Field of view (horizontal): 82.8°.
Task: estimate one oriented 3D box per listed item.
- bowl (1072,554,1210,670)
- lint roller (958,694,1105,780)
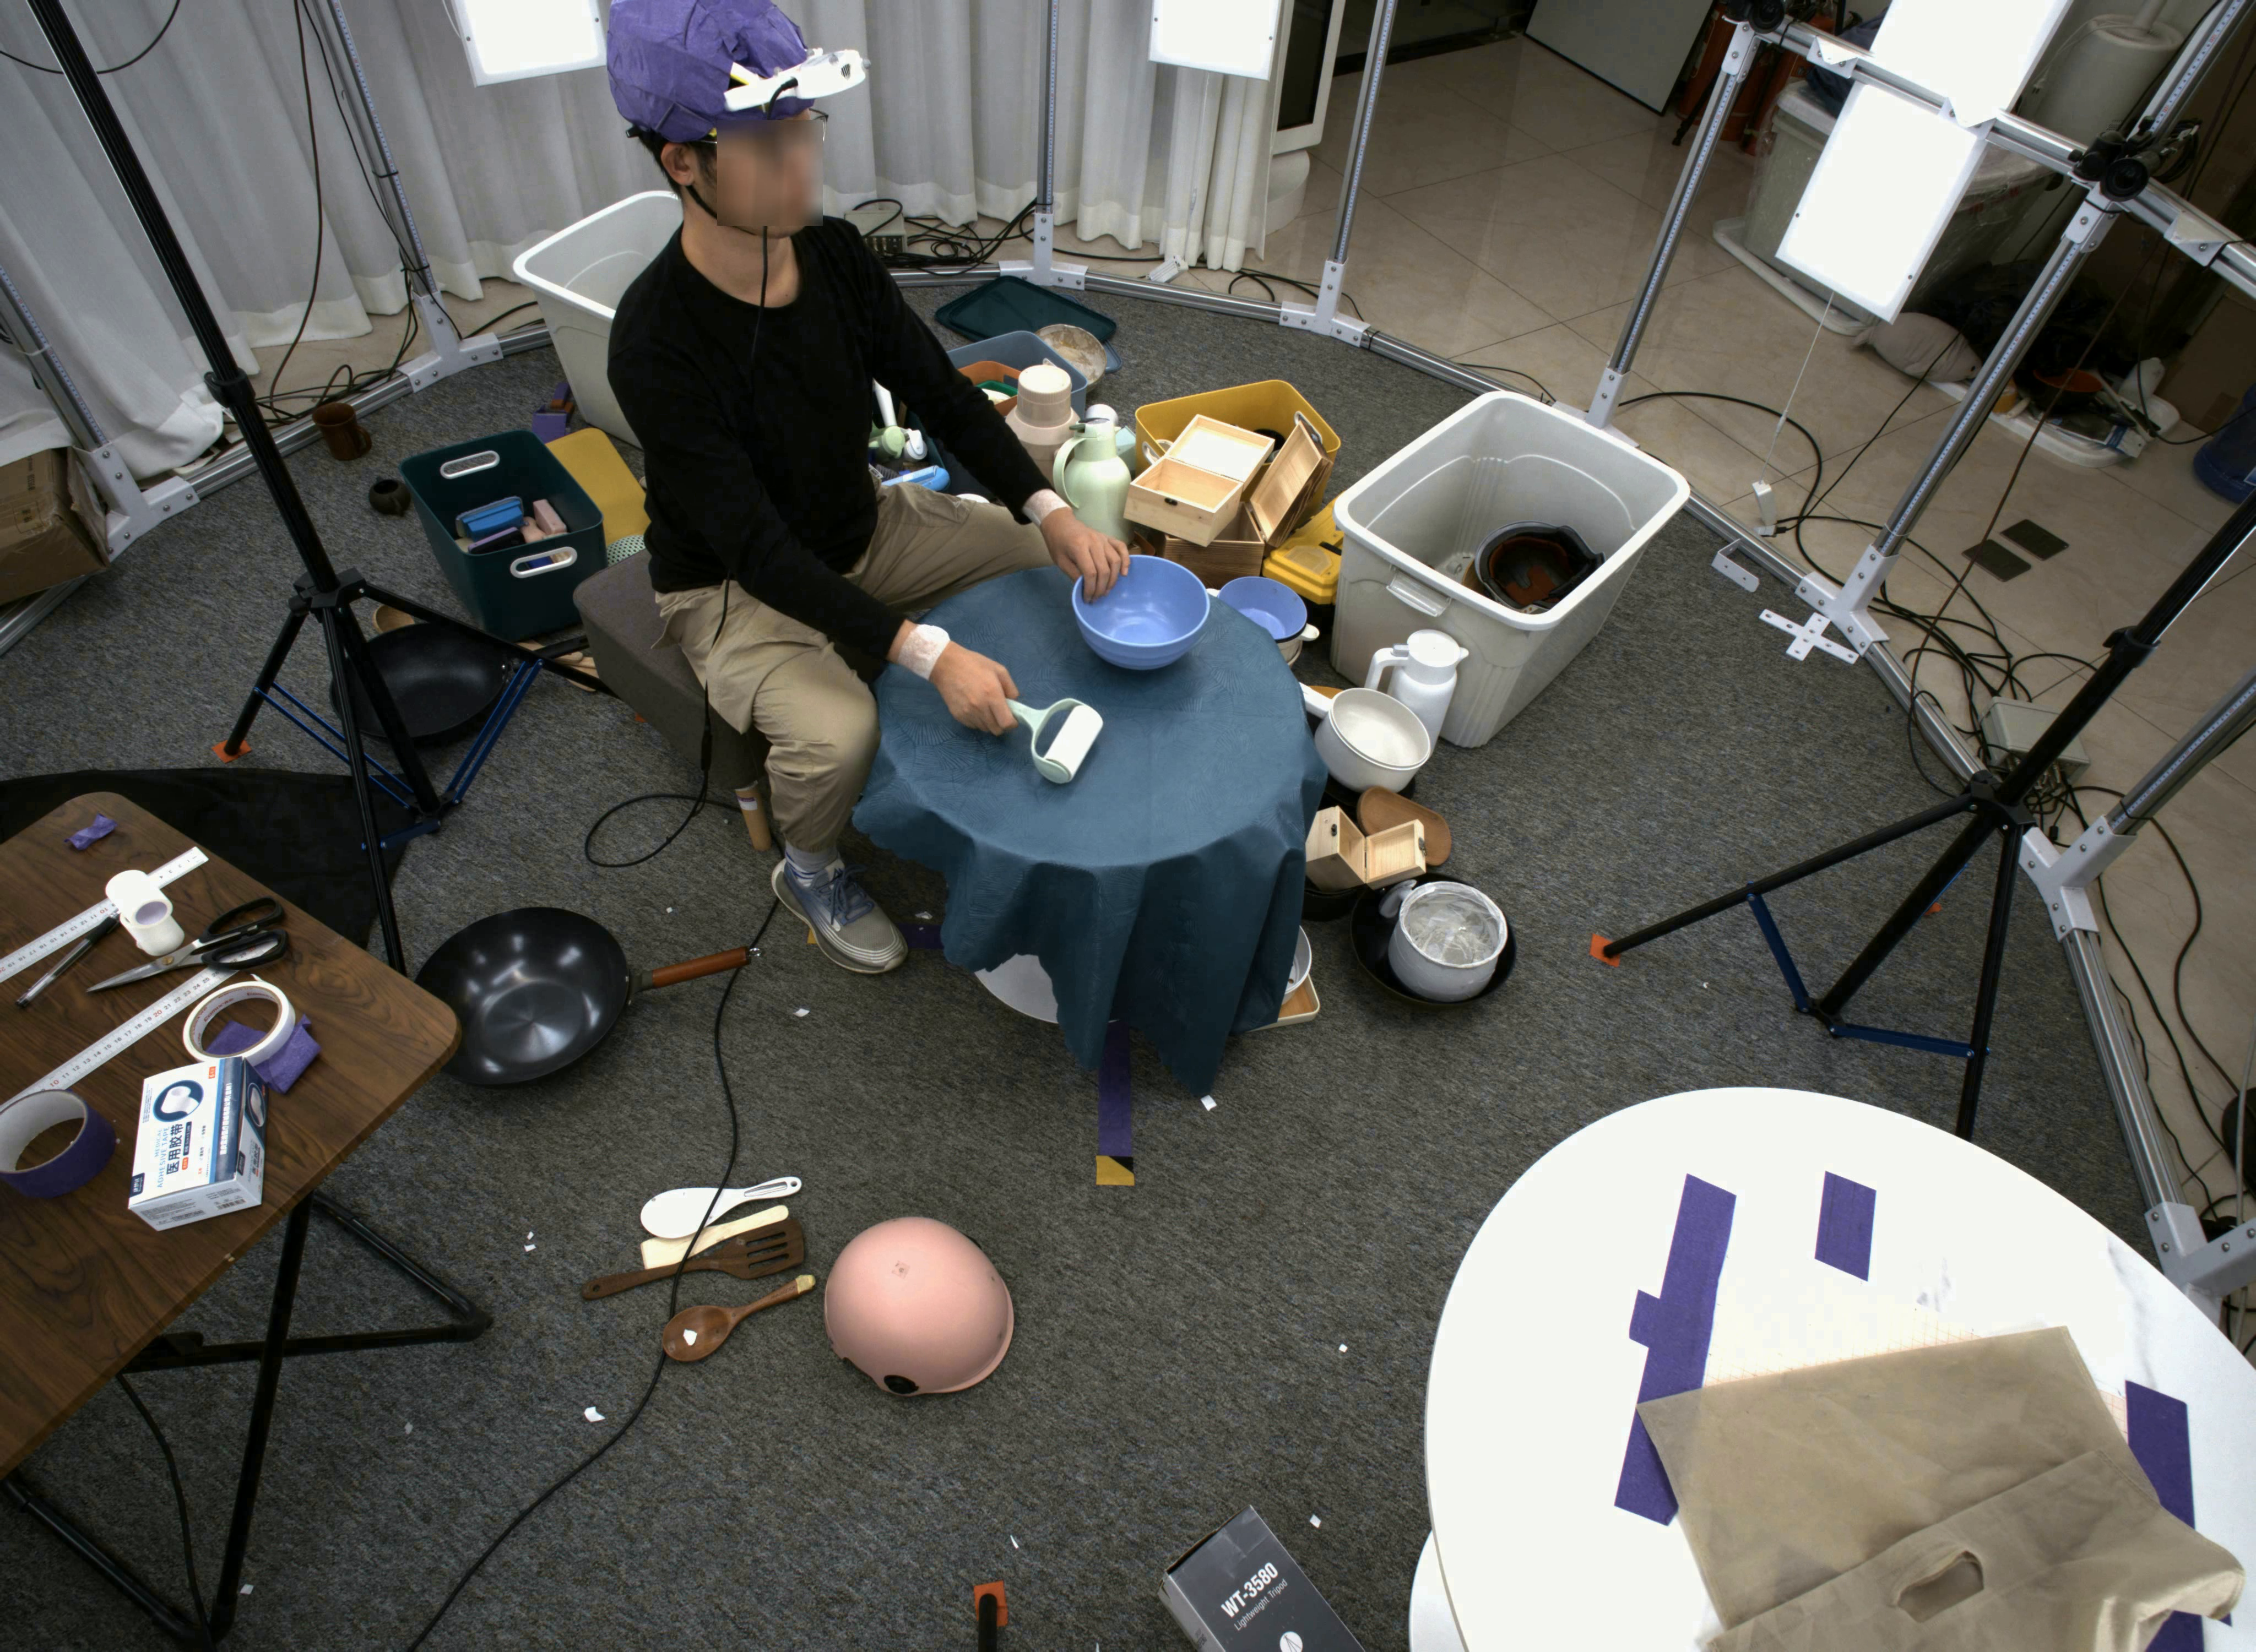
[{"bbox_3d":[0.016,-0.295,1.864,0.196,0.093,0.201,1,50,-2],"label":"bowl"},{"bbox_3d":[-0.137,-0.145,1.737,0.198,0.047,0.119,24,57,6],"label":"lint roller"}]
